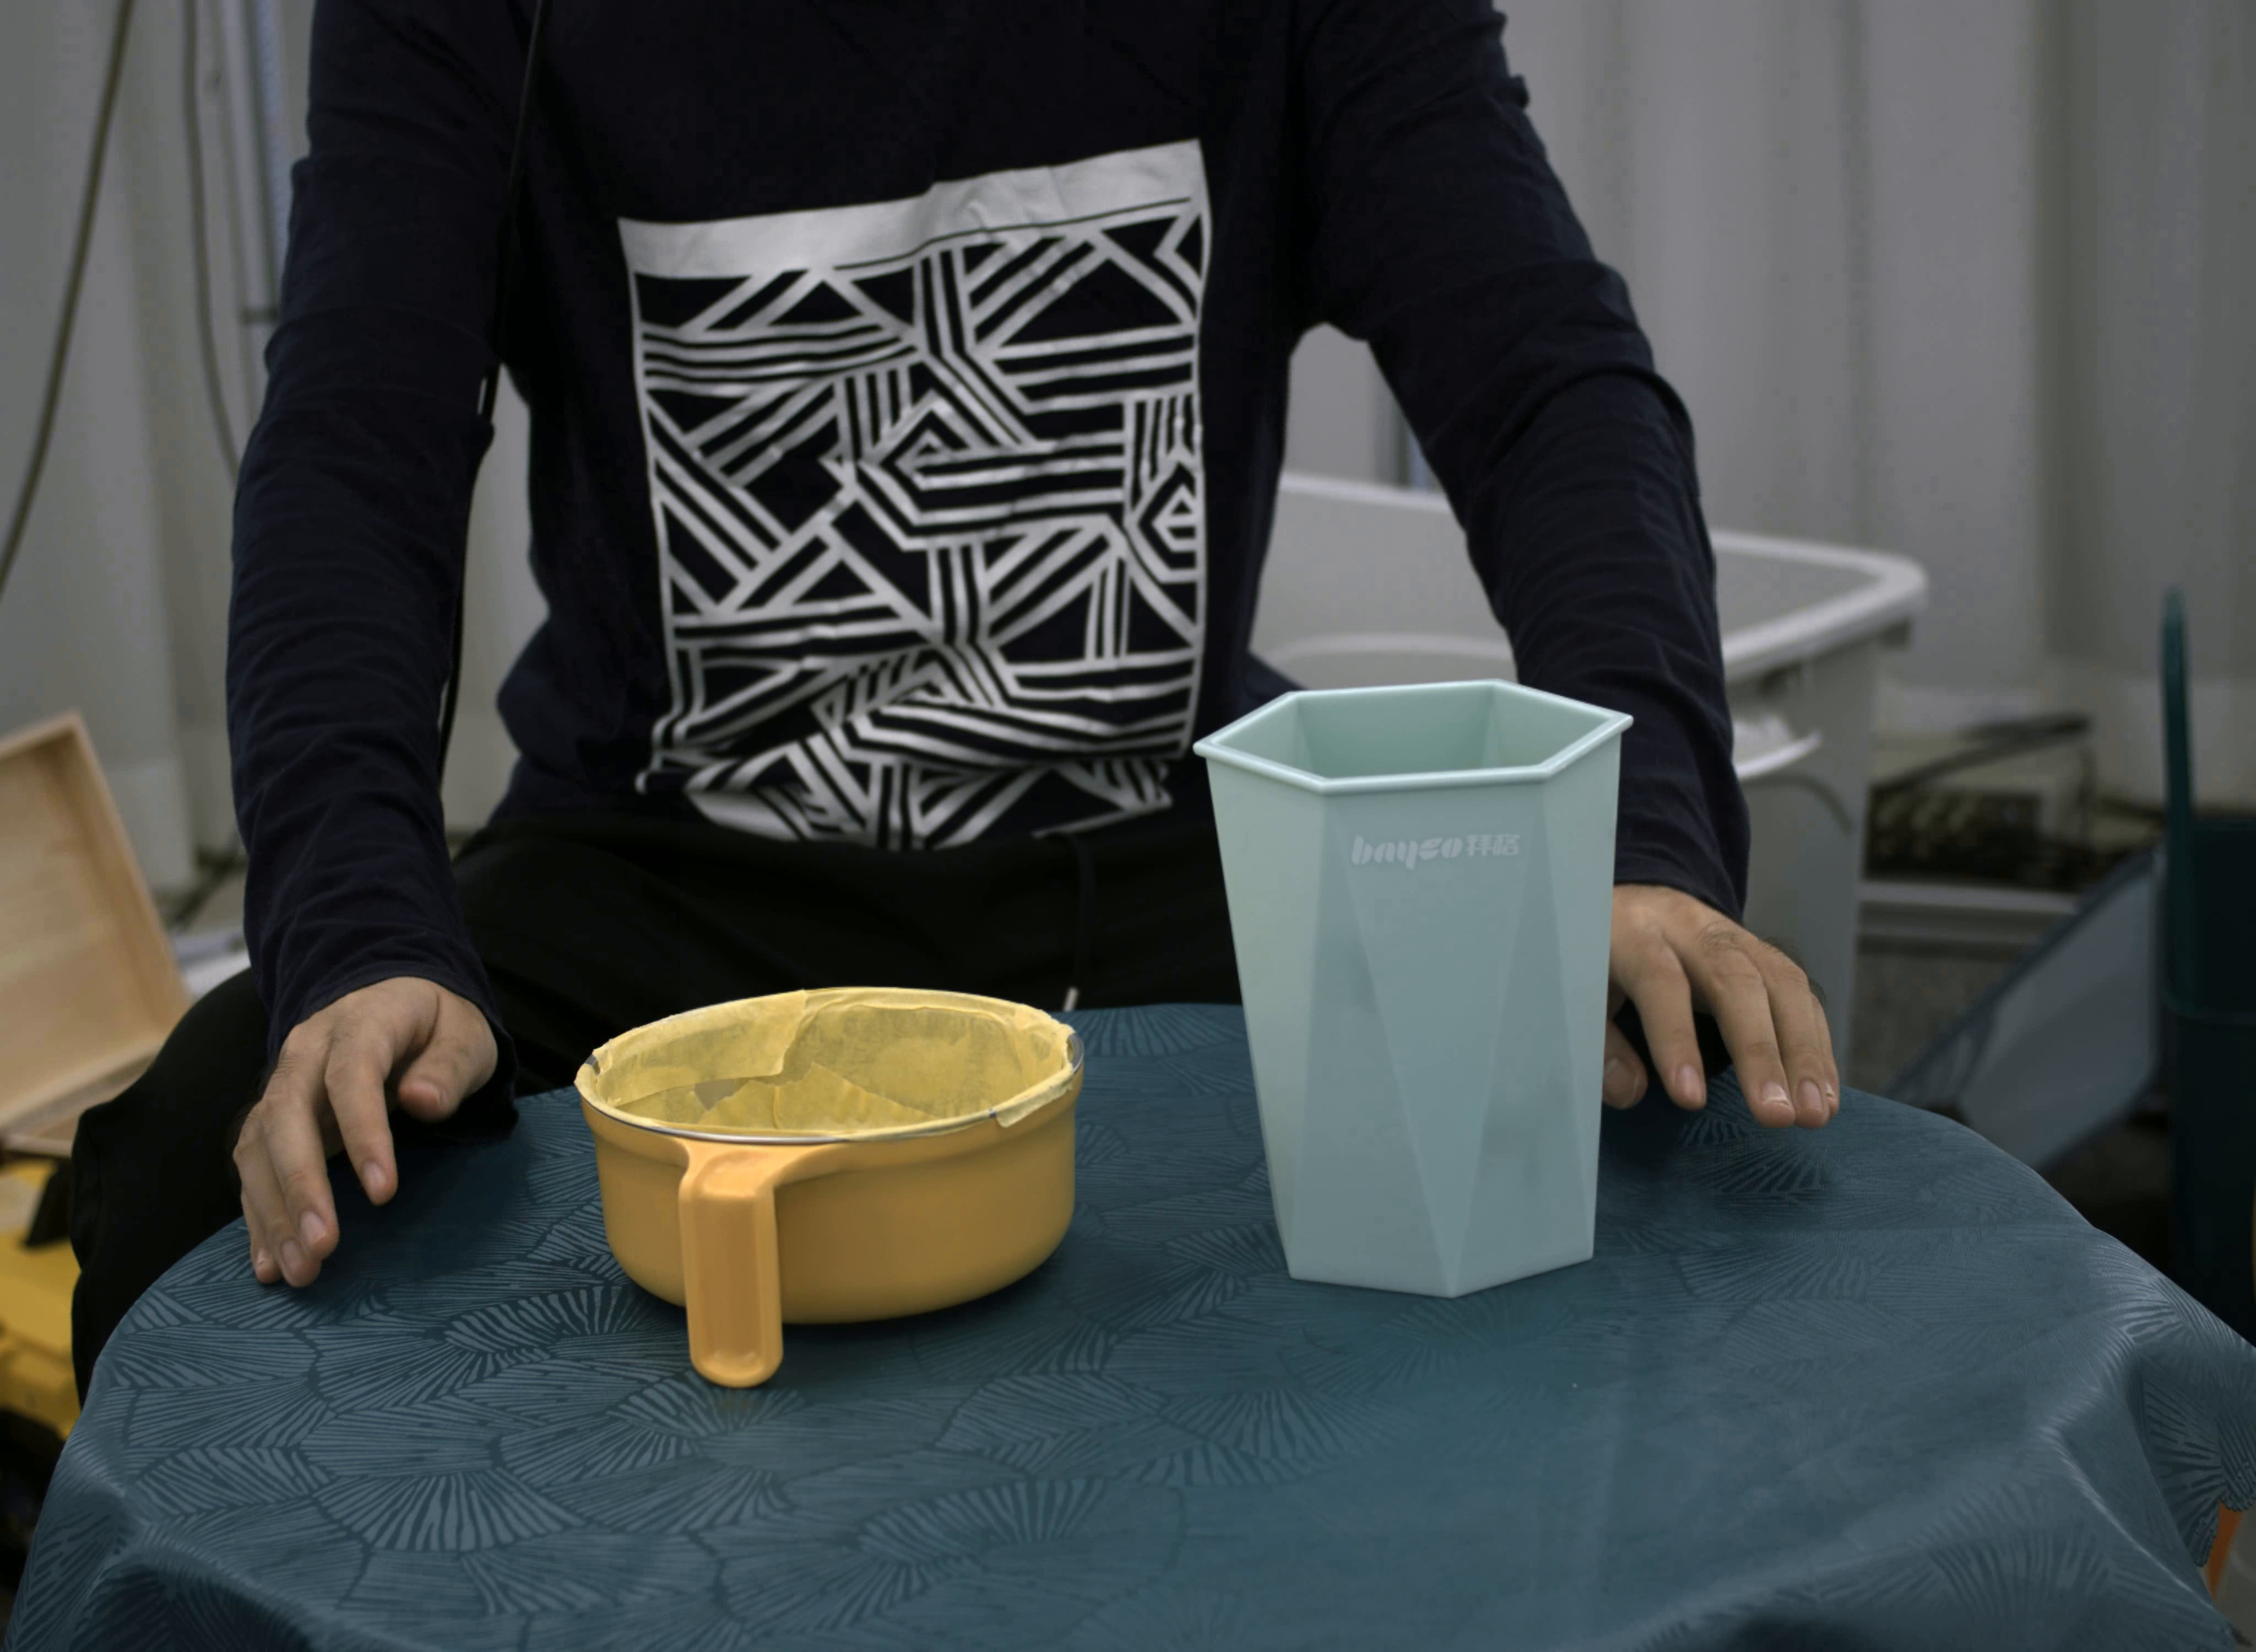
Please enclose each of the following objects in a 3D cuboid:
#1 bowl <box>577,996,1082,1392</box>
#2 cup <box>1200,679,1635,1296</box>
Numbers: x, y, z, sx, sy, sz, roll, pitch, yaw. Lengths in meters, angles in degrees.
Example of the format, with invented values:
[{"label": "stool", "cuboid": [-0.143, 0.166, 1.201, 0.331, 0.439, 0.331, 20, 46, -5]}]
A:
[{"label": "bowl", "cuboid": [-0.091, 0.106, 1.637, 0.153, 0.074, 0.180, 0, 13, 12]}, {"label": "cup", "cuboid": [0.088, 0.048, 1.636, 0.130, 0.162, 0.116, -3, 12, -6]}]
